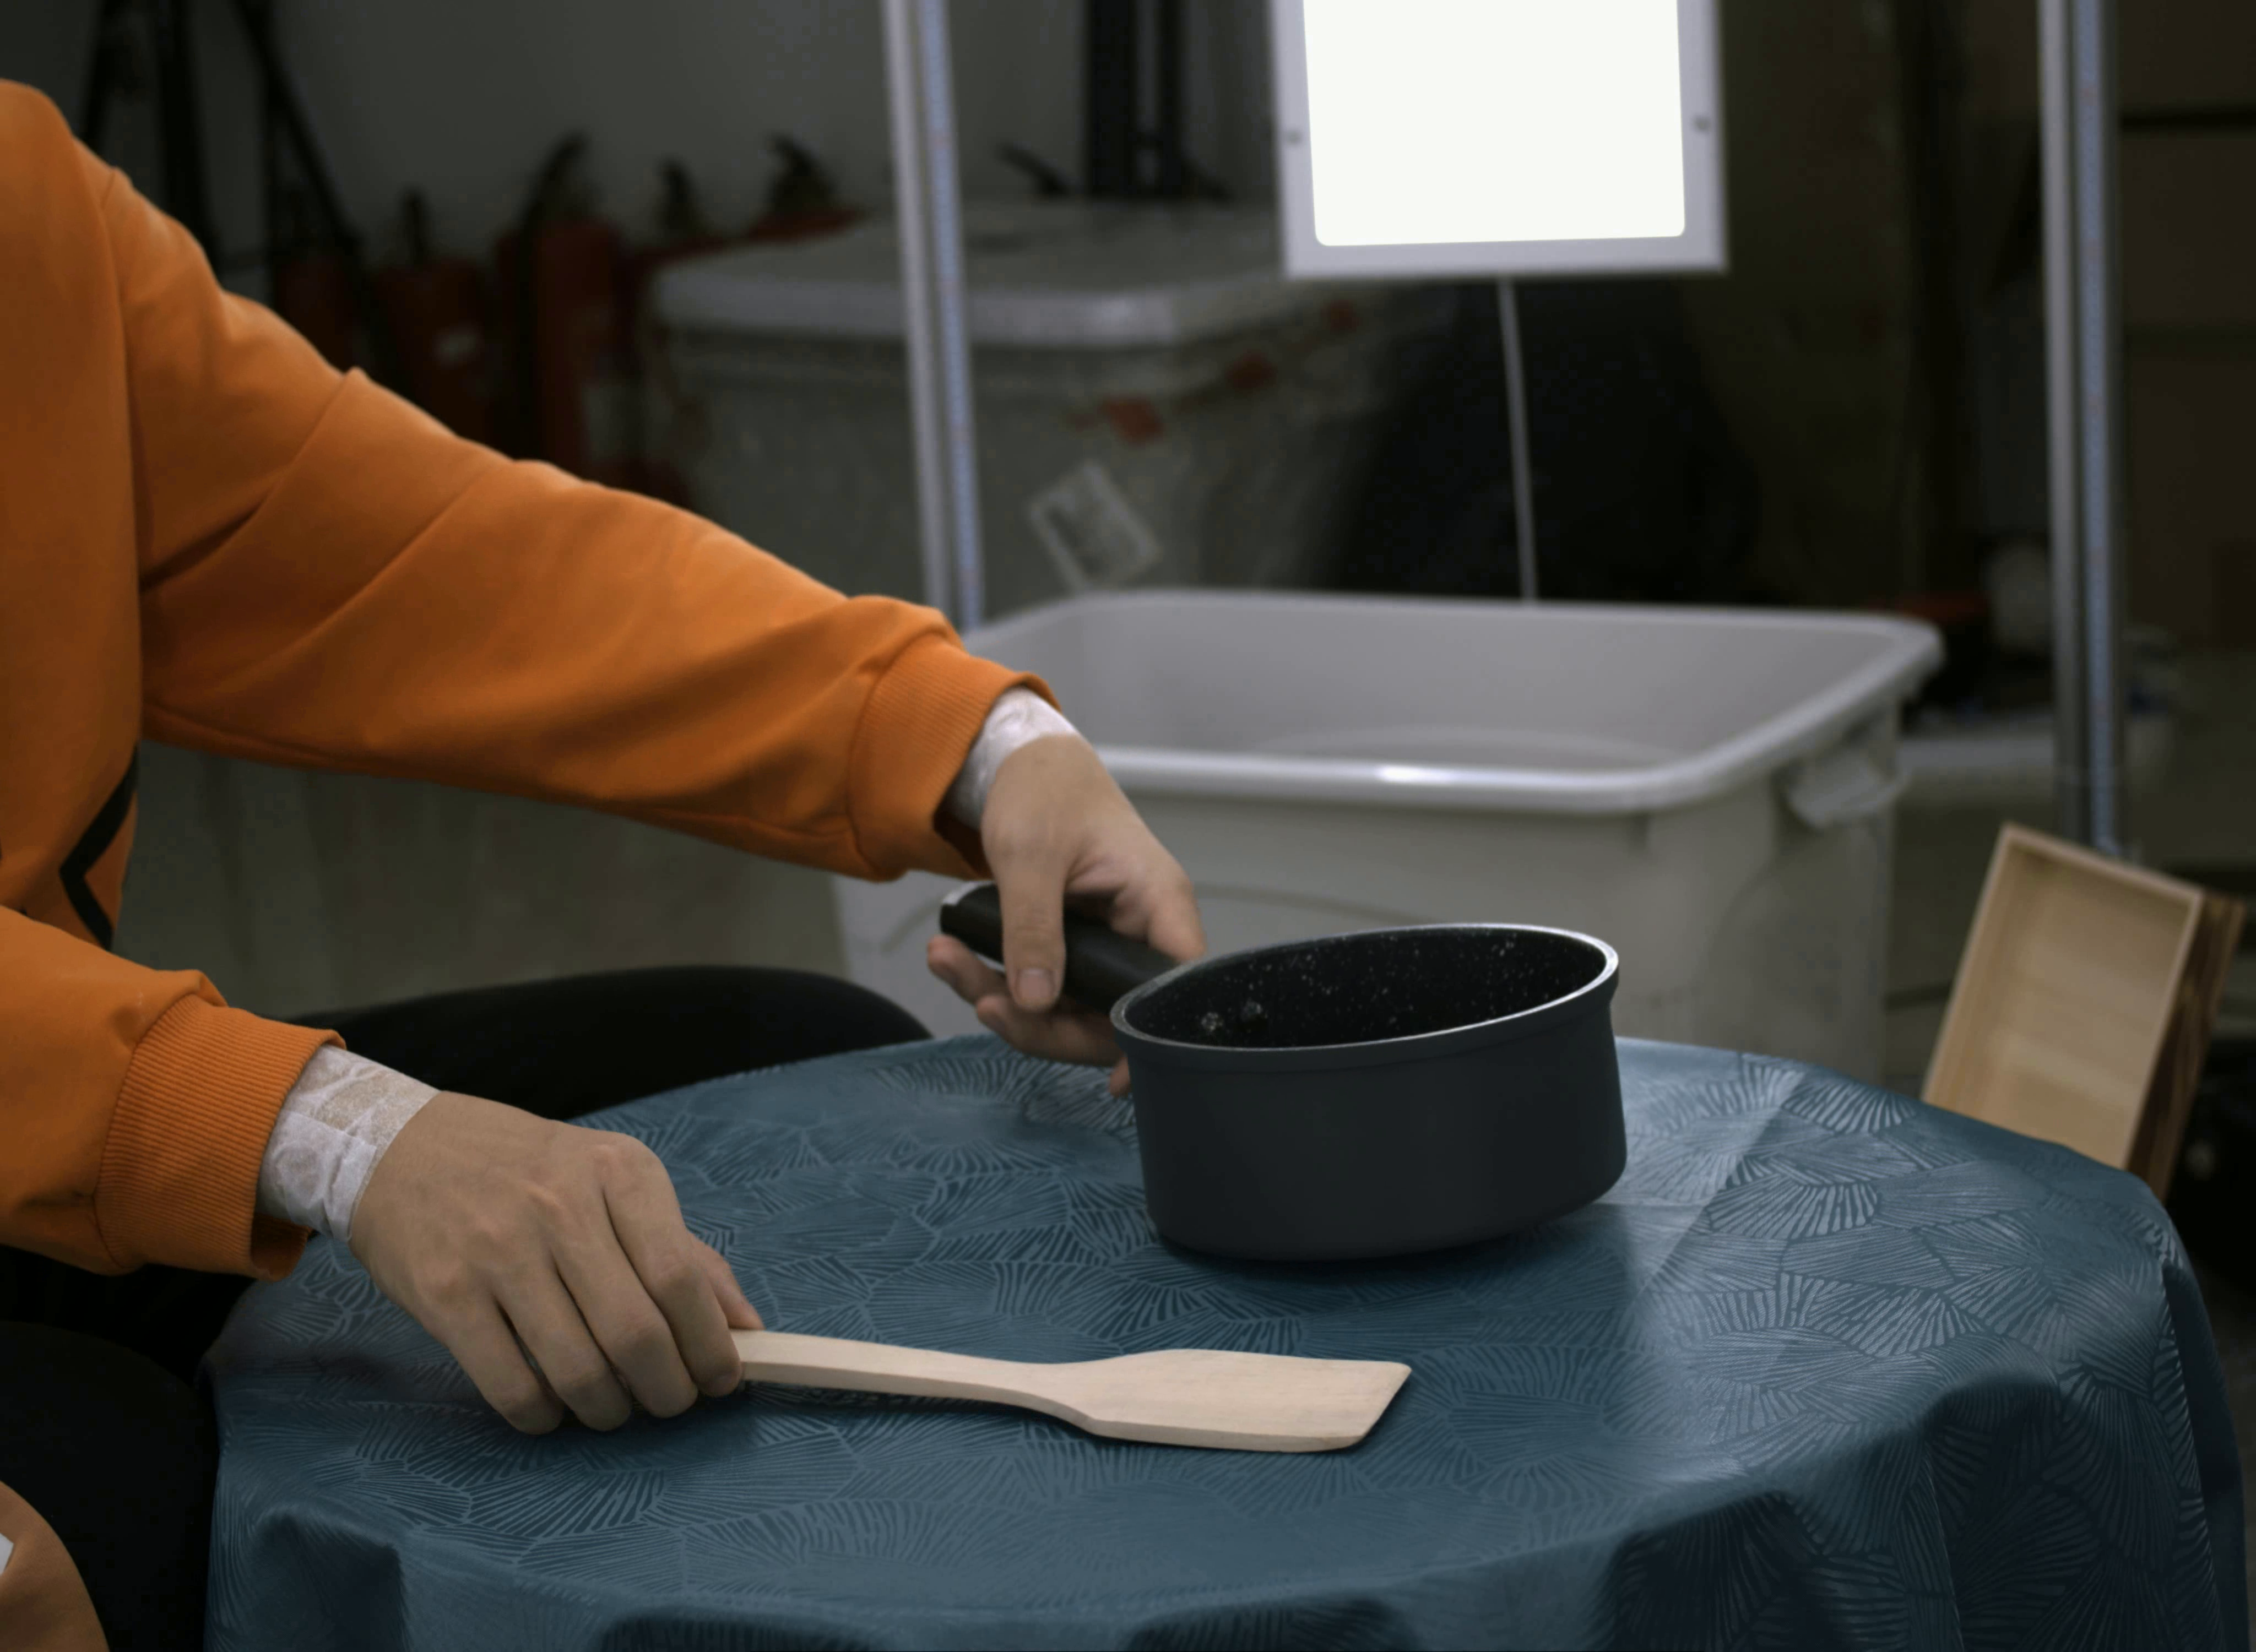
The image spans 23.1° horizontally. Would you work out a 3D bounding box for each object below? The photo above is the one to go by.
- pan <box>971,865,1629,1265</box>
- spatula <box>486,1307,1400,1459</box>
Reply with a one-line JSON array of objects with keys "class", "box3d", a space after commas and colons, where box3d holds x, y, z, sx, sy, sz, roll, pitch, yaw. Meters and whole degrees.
[{"class": "pan", "box3d": [0.041, 0.077, 1.910, 0.168, 0.087, 0.335, -13, 13, -29]}, {"class": "spatula", "box3d": [-0.063, 0.169, 1.707, 0.296, 0.011, 0.071, 3, 18, 19]}]
